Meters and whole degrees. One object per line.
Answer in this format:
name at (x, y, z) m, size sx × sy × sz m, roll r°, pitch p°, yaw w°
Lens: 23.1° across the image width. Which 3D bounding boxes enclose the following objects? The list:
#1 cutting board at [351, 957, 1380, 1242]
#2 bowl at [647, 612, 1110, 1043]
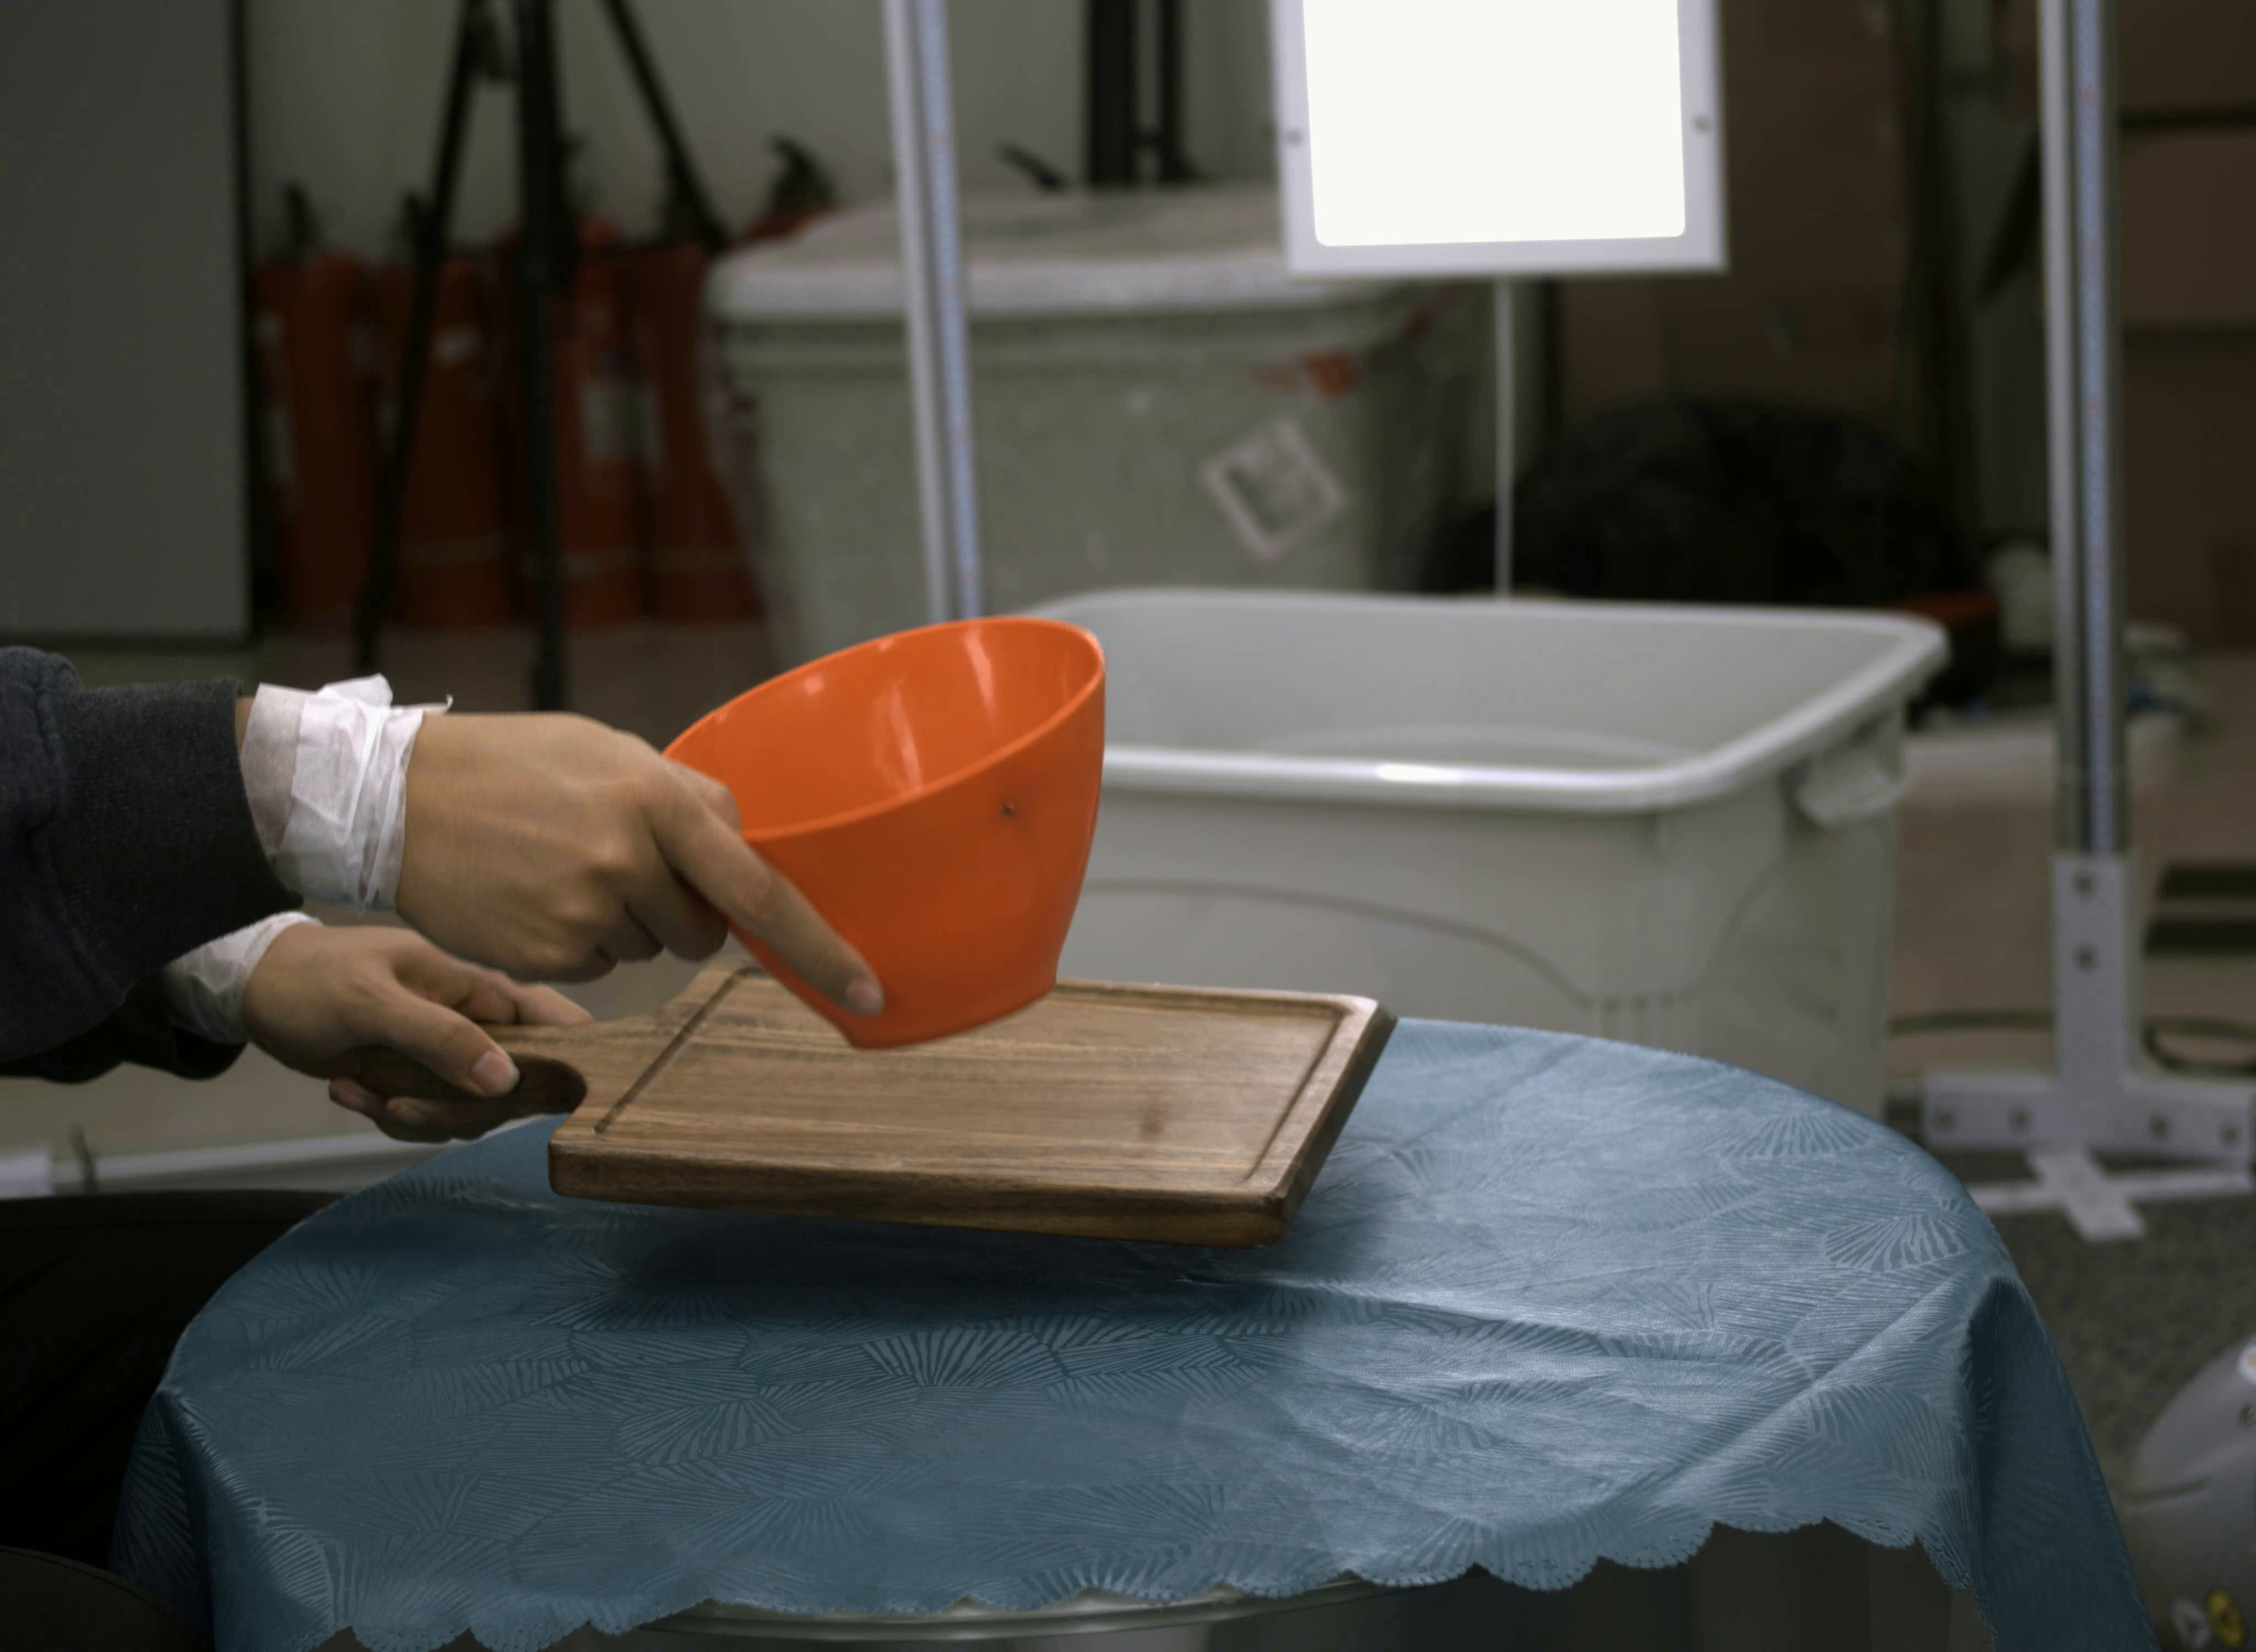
cutting board at (-0.099, 0.088, 1.895) m, size 0.355 × 0.023 × 0.198 m, roll 3°, pitch 18°, yaw 15°
bowl at (-0.065, 0.004, 1.680) m, size 0.148 × 0.105 × 0.148 m, roll -16°, pitch 10°, yaw 2°
